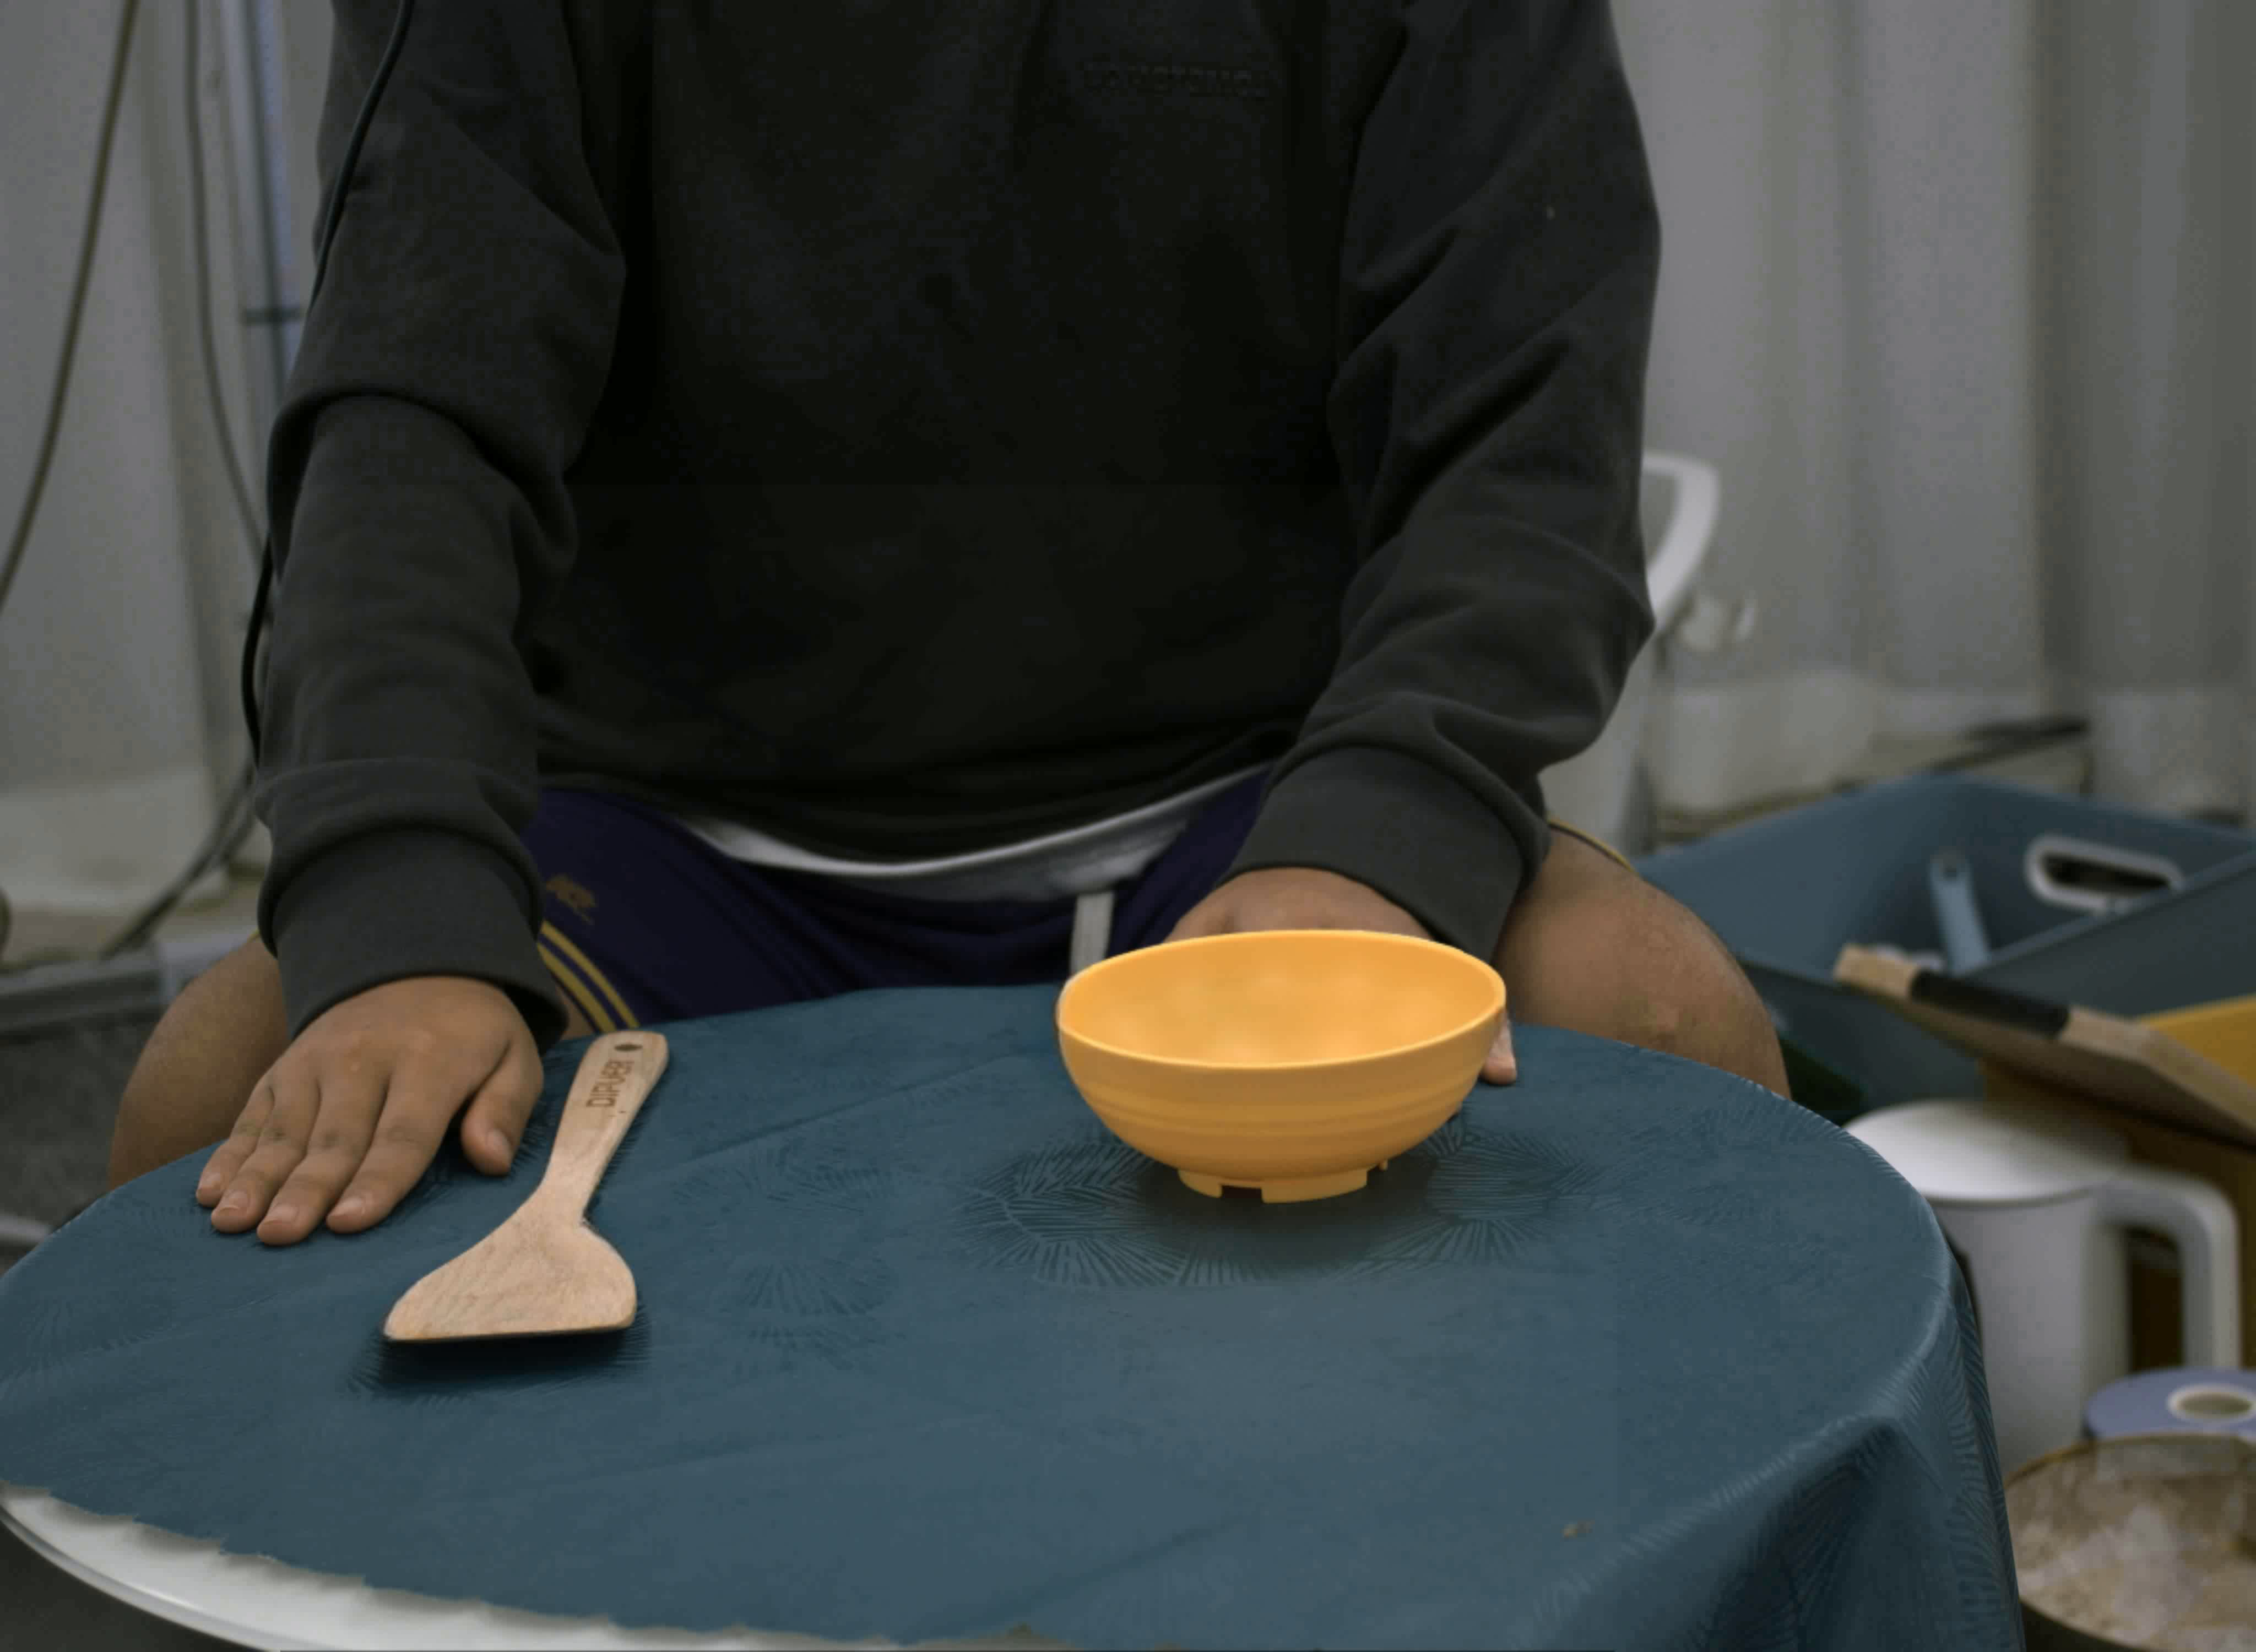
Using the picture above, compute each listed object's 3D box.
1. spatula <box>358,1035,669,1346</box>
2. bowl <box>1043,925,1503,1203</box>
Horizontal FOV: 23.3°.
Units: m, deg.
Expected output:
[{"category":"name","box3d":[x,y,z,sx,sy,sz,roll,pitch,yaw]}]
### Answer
[{"category":"spatula","box3d":[-0.177,0.112,1.729,0.080,0.016,0.329,-2,15,3]},{"category":"bowl","box3d":[0.046,0.080,1.724,0.145,0.060,0.146,-1,15,0]}]
